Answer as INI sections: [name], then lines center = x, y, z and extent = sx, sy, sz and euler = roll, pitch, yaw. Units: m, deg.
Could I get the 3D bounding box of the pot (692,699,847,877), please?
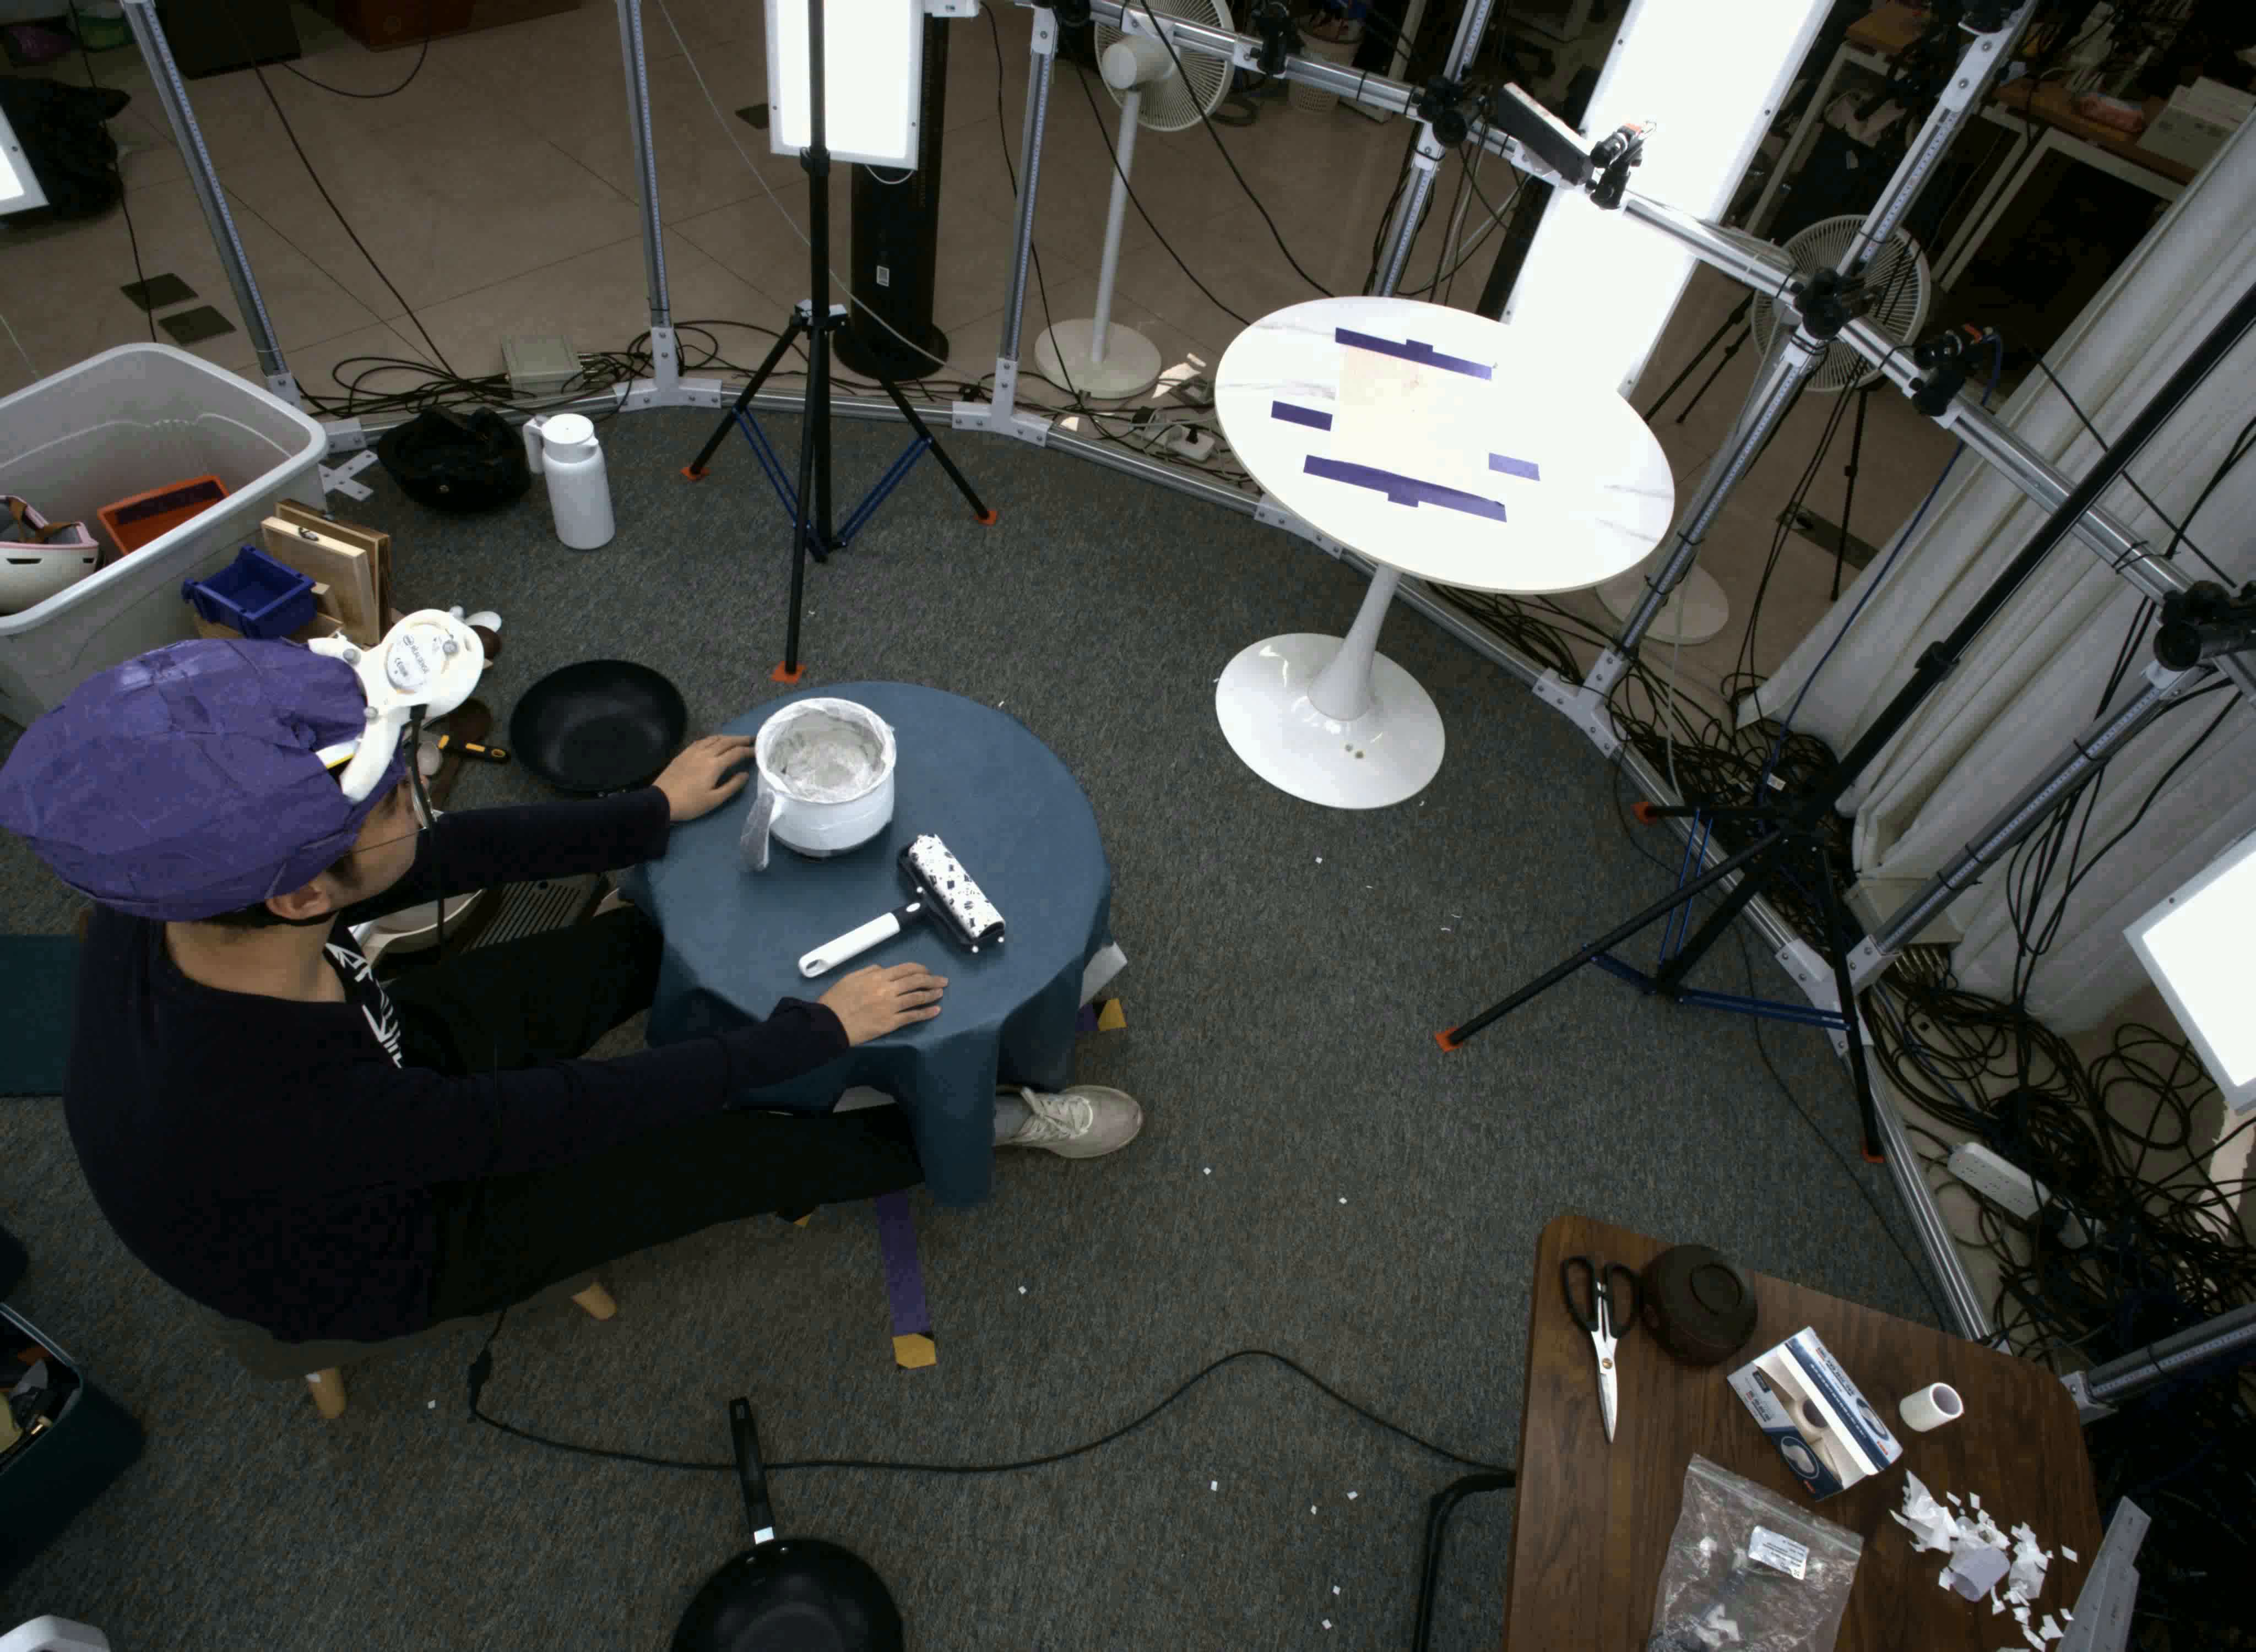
[pot]
center = -0.468, -0.040, 1.660
extent = 0.175, 0.140, 0.233
euler = 29, 50, 13

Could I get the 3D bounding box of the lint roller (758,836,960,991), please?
[lint roller]
center = -0.354, 0.128, 1.630
extent = 0.248, 0.051, 0.172
euler = -33, 68, -29
